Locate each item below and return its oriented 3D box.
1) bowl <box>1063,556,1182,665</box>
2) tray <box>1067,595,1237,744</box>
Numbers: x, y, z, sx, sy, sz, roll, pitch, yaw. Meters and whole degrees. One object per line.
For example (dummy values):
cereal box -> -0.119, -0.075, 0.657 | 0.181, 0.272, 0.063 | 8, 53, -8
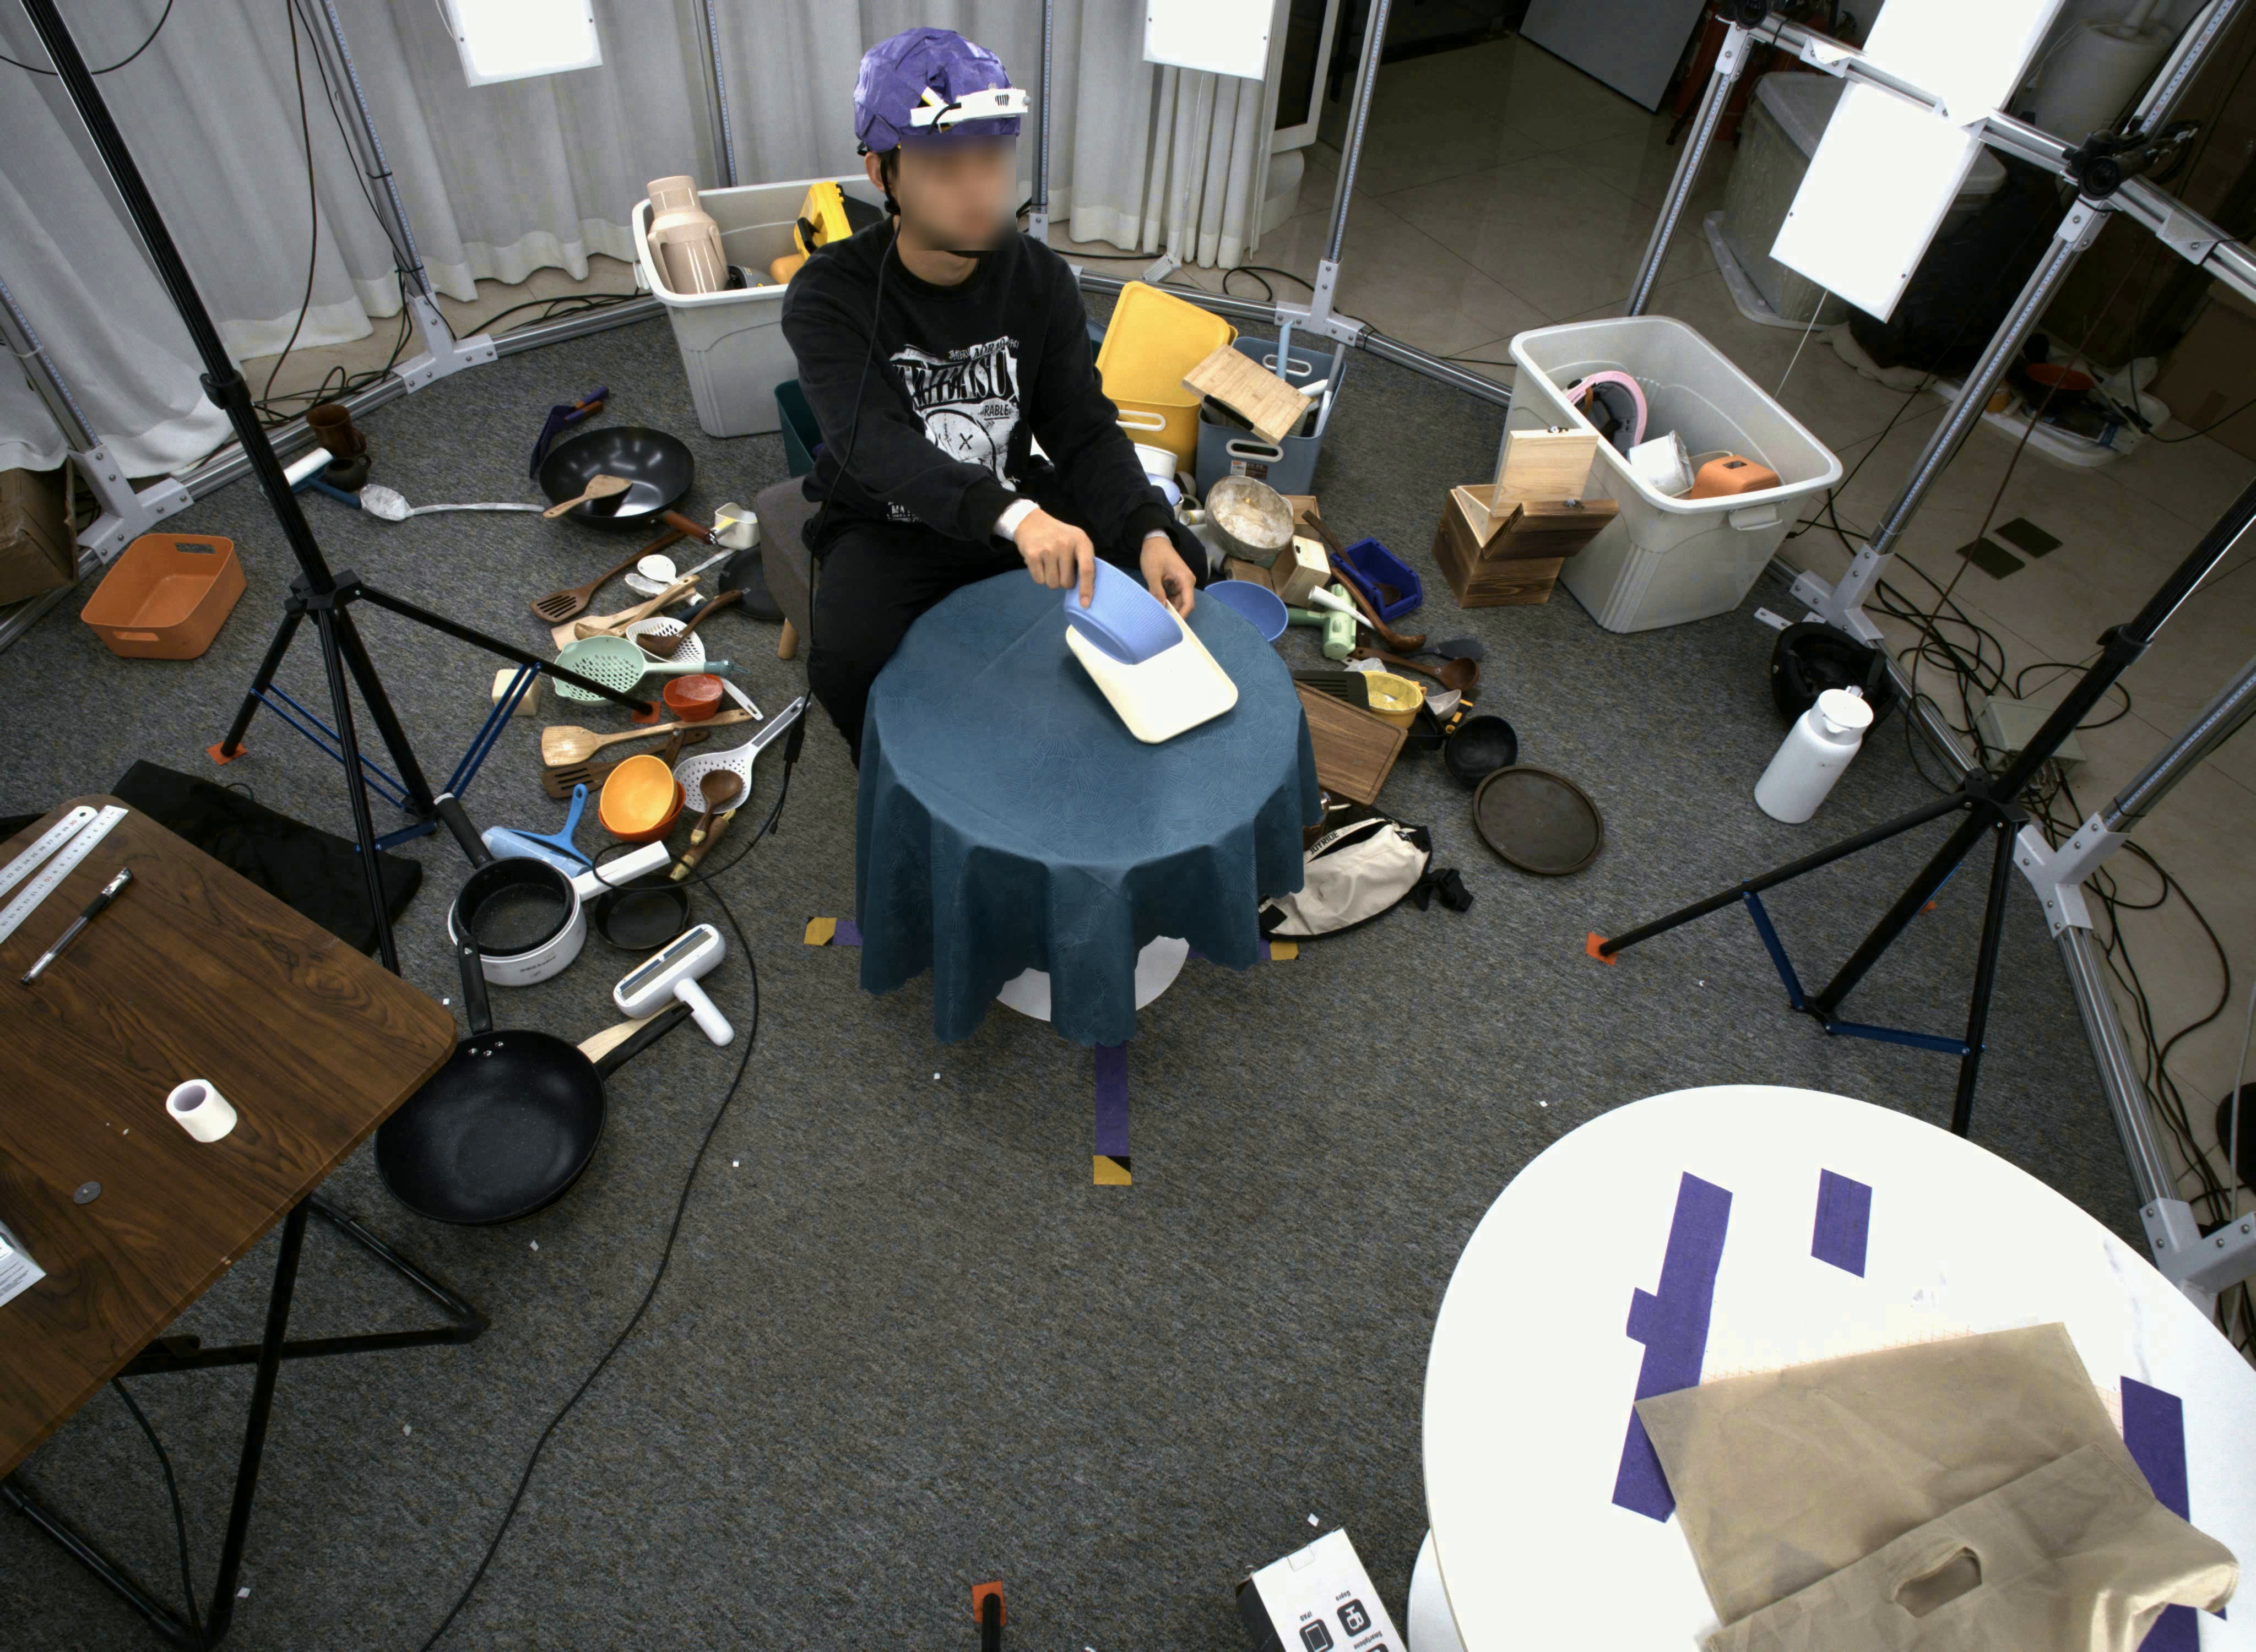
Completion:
bowl -> -0.019, -0.269, 1.669 | 0.178, 0.173, 0.070 | 35, 84, 23
tray -> 0.034, -0.227, 1.851 | 0.172, 0.017, 0.244 | -25, 61, -19
